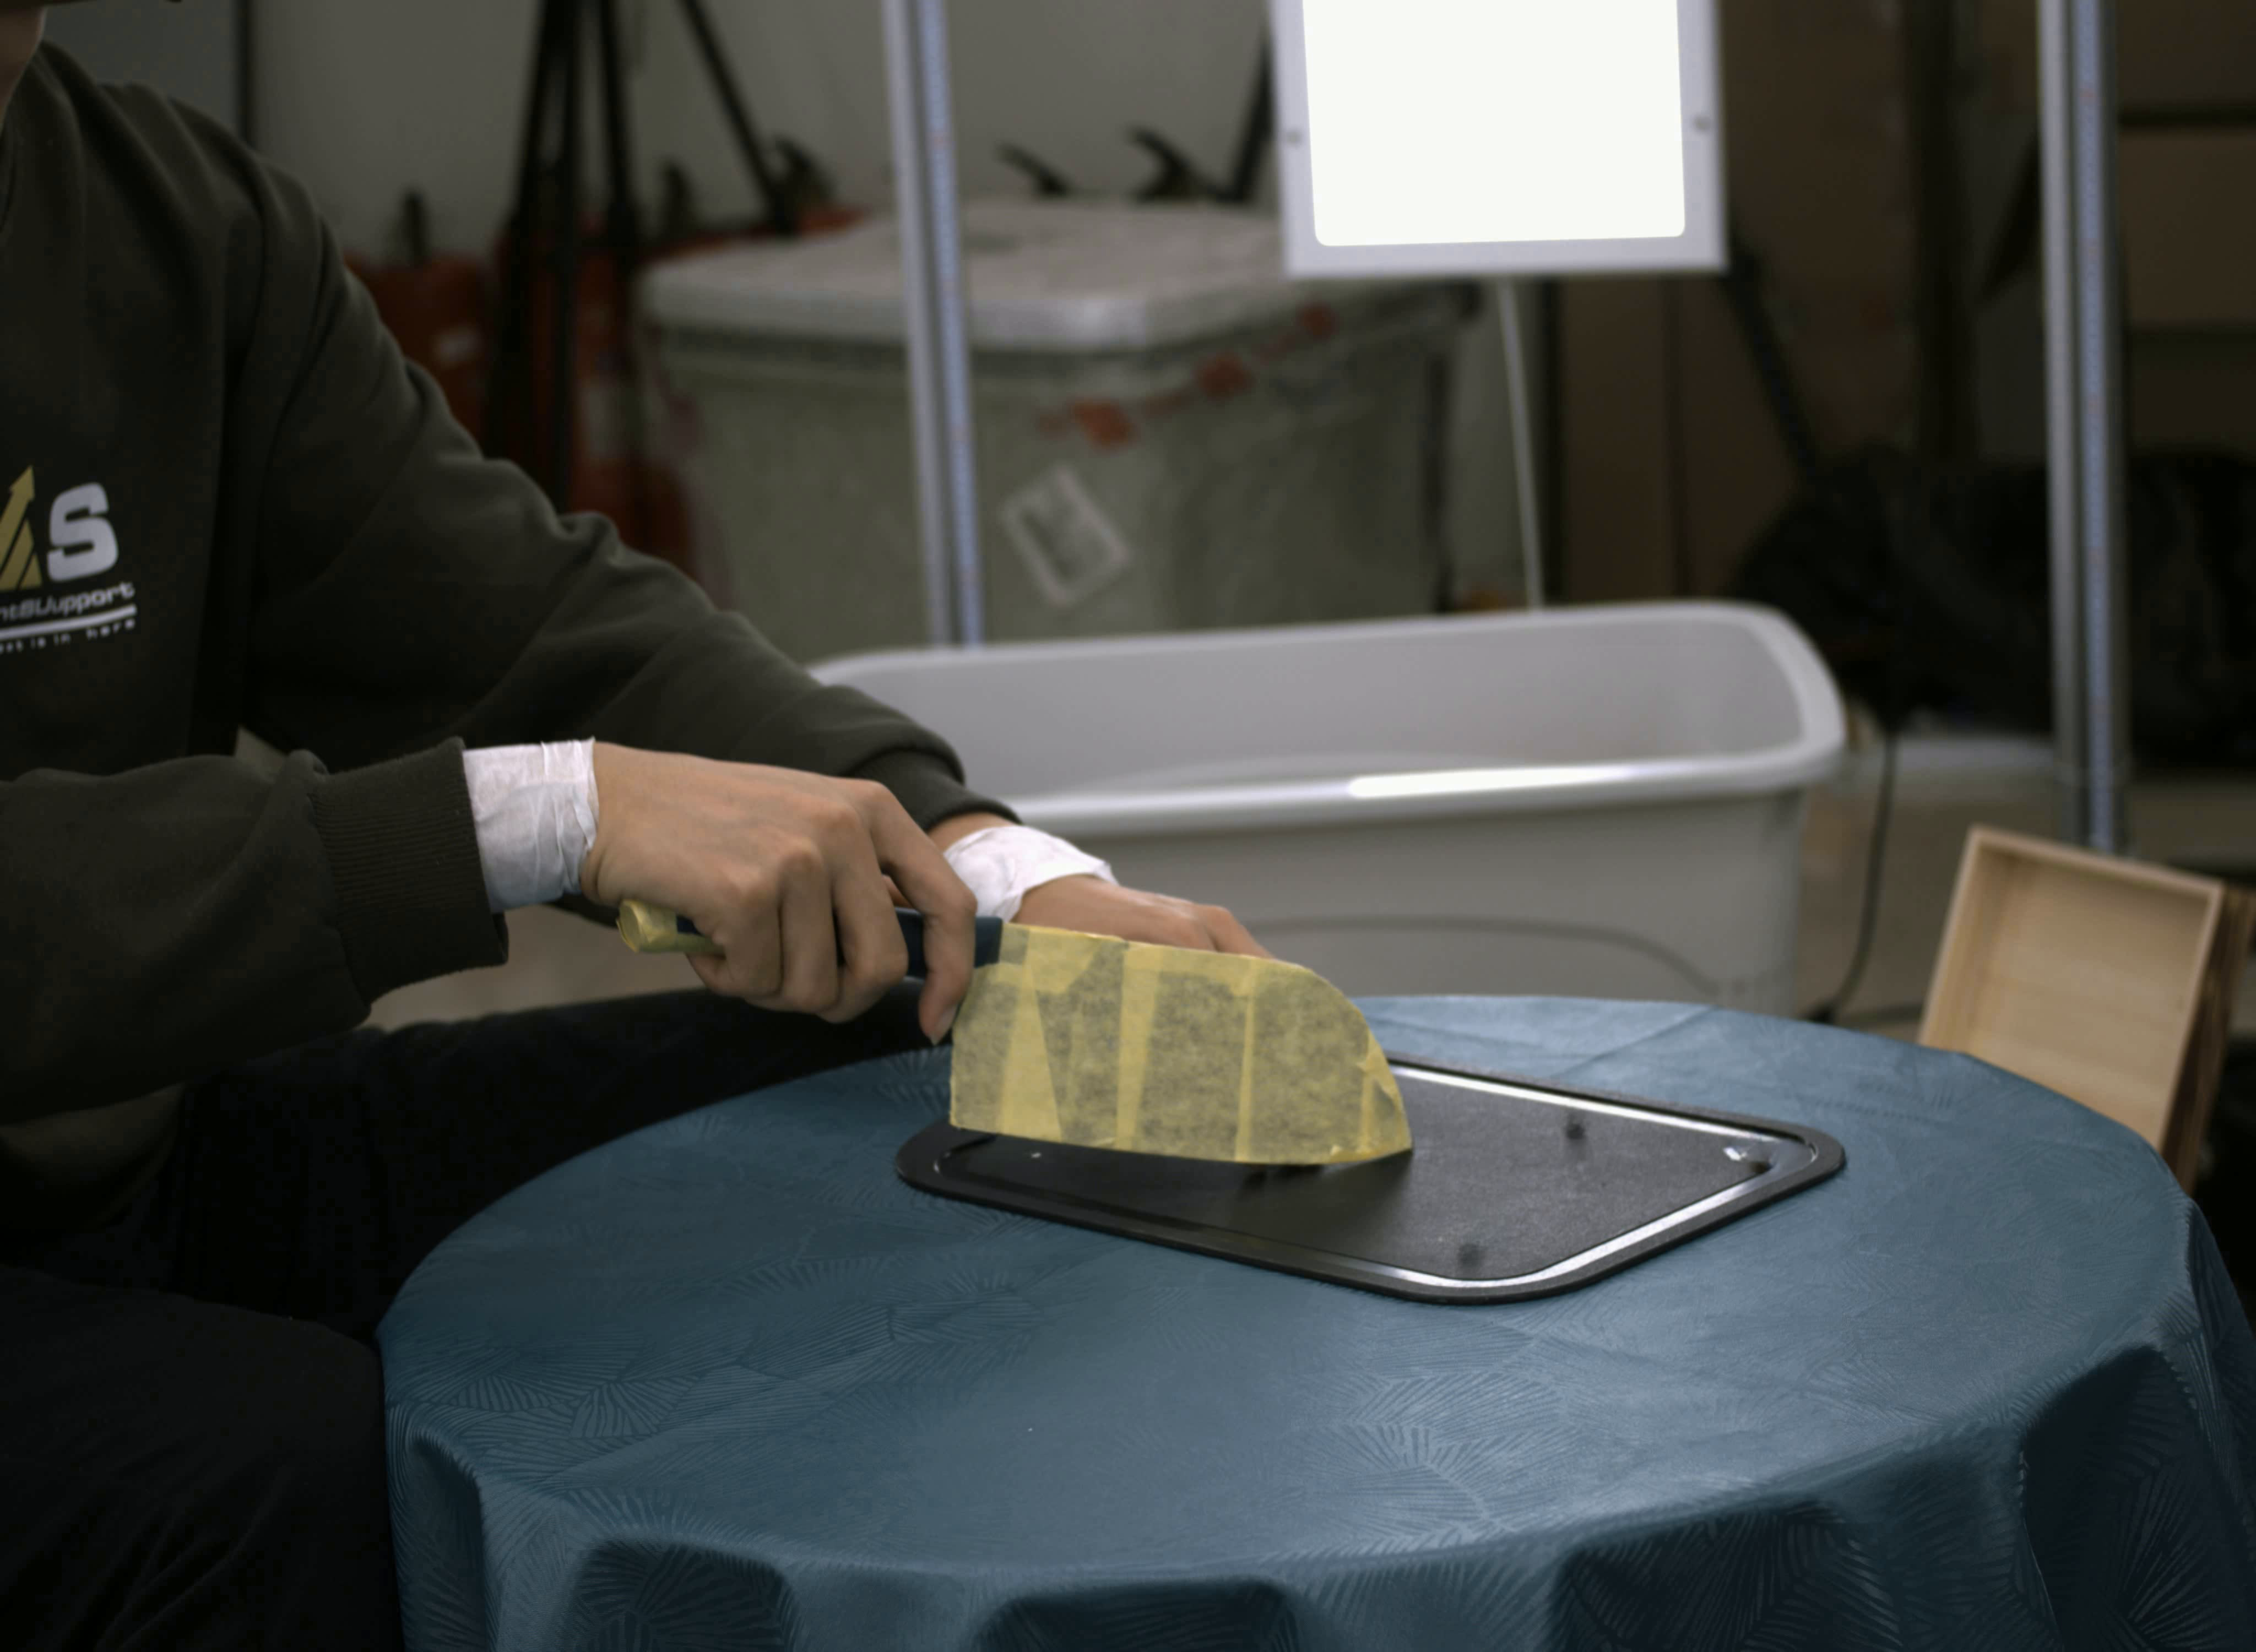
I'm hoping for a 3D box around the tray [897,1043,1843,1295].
[{"bbox_3d":[0.075,0.113,1.916,0.332,0.010,0.206,9,19,45],"label":"tray"}]

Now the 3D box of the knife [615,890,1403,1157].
[{"bbox_3d":[-0.037,0.067,1.873,0.285,0.081,0.027,11,-14,-16],"label":"knife"}]
